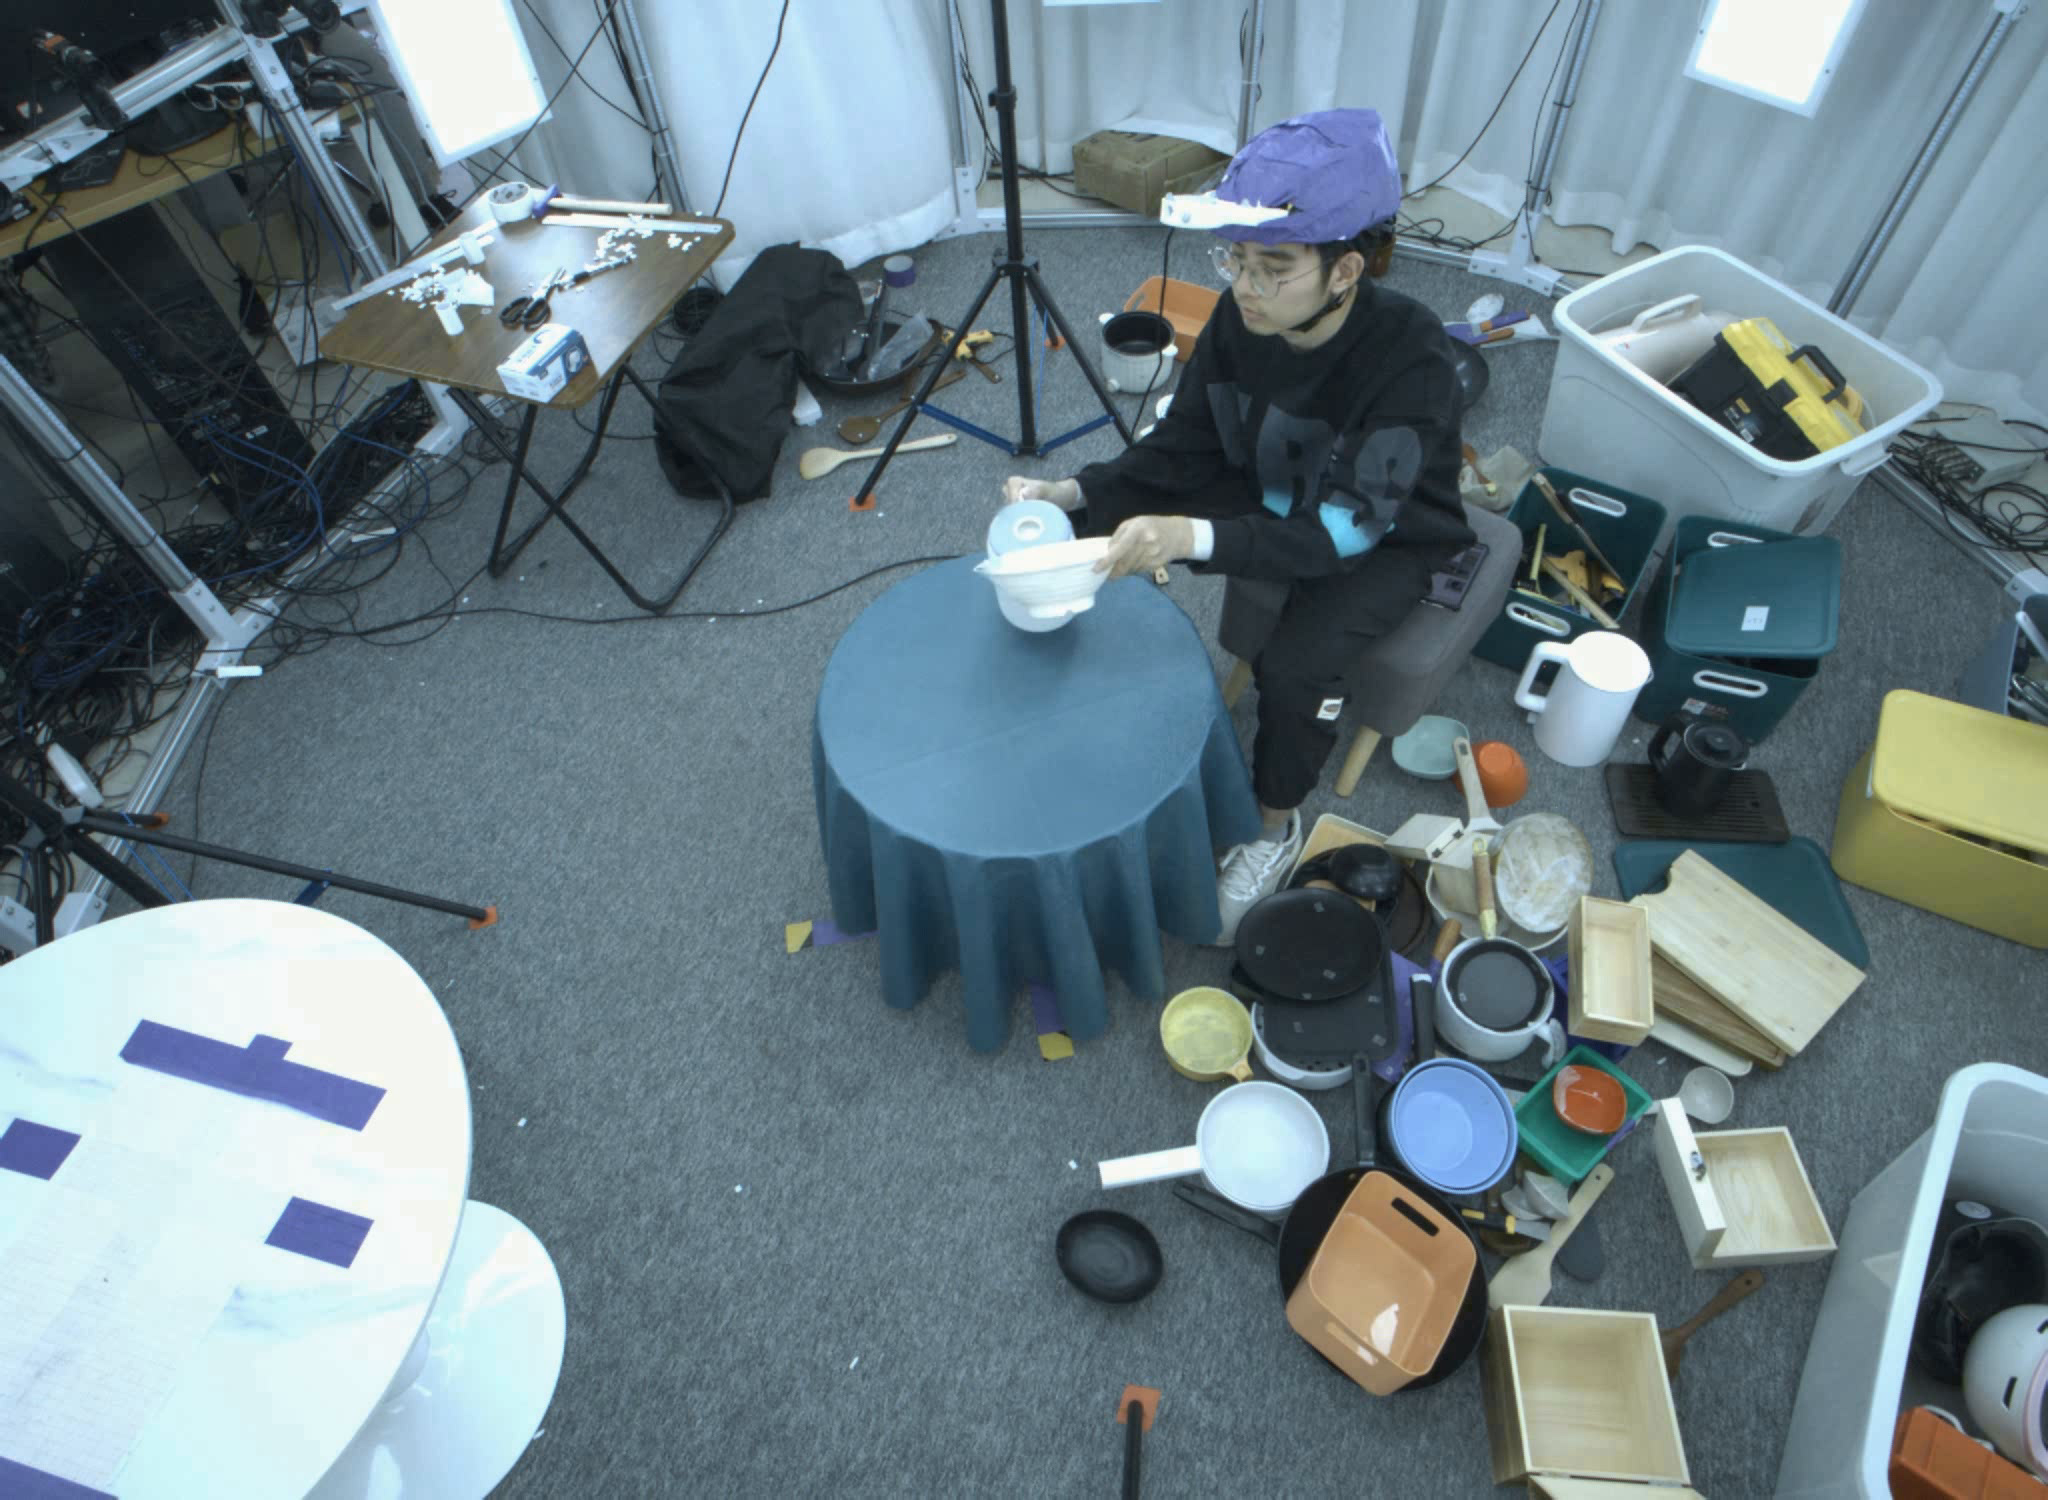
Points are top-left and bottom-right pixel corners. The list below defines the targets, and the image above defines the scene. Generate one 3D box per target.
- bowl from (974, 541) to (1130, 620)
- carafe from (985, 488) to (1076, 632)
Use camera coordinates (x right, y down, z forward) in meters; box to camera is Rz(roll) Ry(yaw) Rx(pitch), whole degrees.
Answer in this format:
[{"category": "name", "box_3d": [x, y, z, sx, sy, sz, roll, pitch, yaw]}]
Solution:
[{"category": "bowl", "box_3d": [0.040, -0.217, 1.607, 0.204, 0.078, 0.203, -6, 17, 3]}, {"category": "carafe", "box_3d": [0.012, -0.294, 1.832, 0.132, 0.185, 0.189, -8, 59, 1]}]
